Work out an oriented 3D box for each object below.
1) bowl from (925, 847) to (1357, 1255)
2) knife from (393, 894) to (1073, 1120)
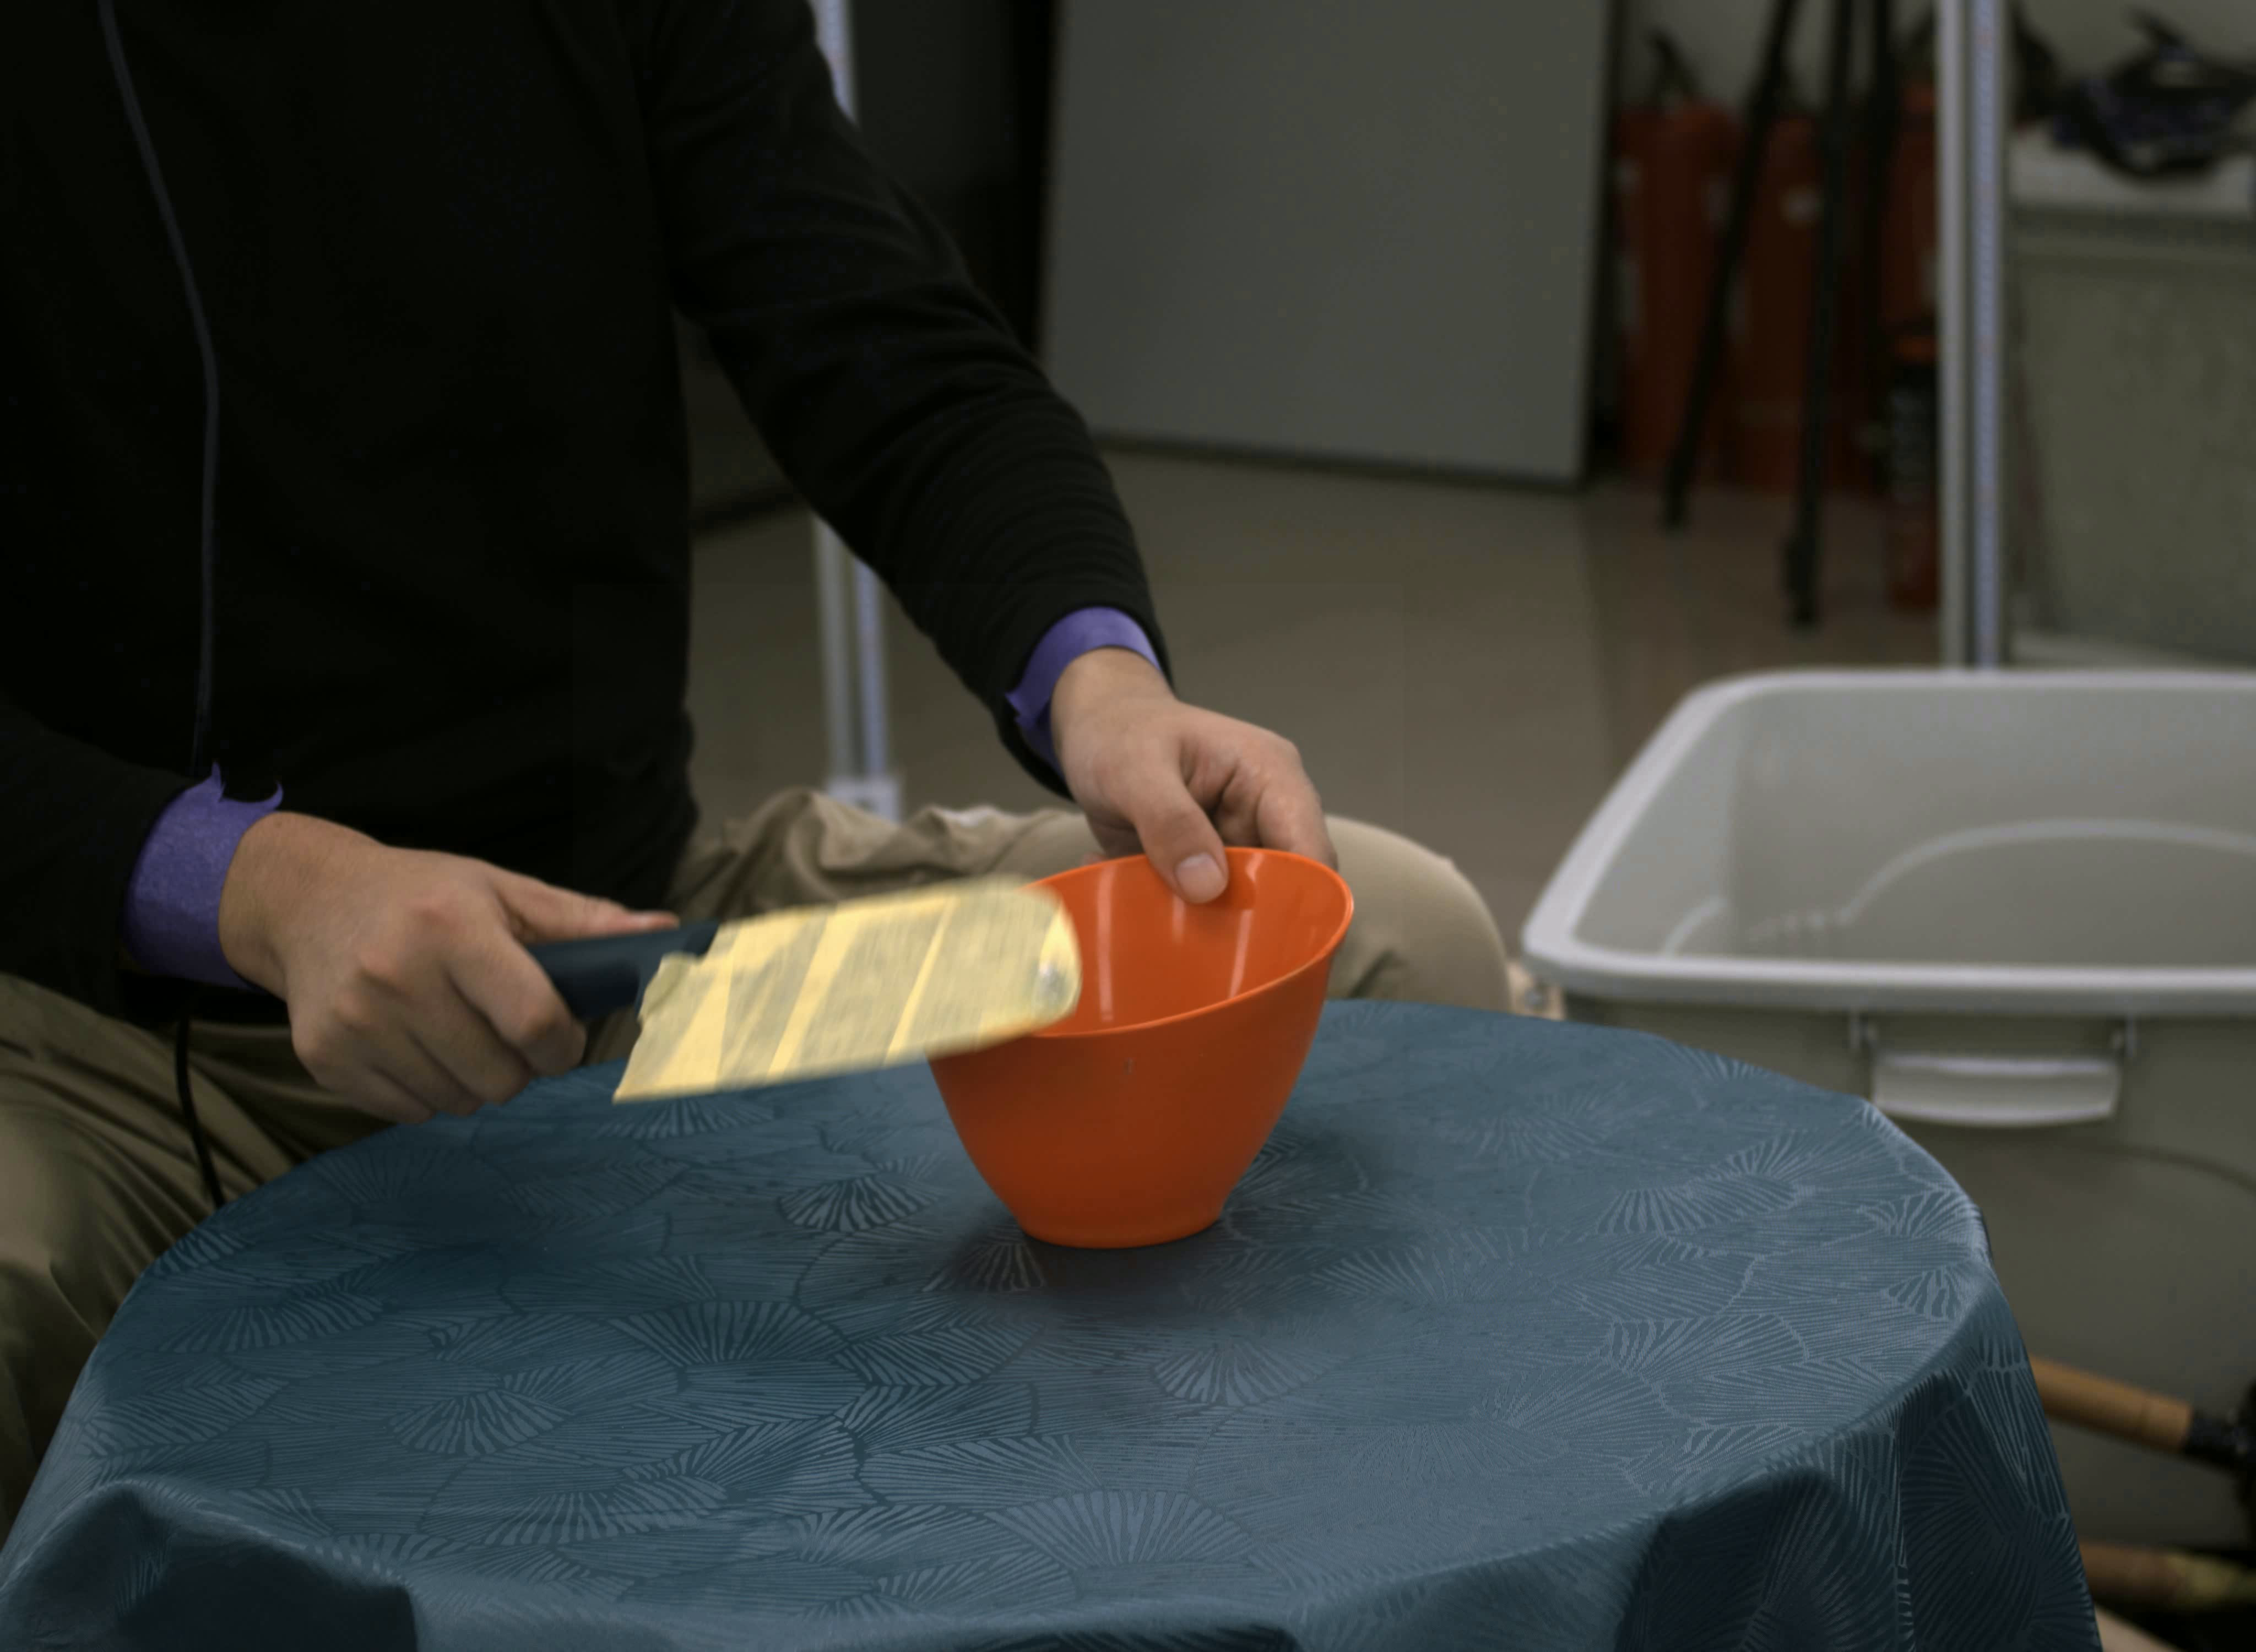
[{"bbox_3d":[0.004,0.076,1.742,0.146,0.106,0.148,-4,15,0],"label":"bowl"},{"bbox_3d":[-0.130,0.061,1.700,0.291,0.027,0.081,-9,39,38],"label":"knife"}]
